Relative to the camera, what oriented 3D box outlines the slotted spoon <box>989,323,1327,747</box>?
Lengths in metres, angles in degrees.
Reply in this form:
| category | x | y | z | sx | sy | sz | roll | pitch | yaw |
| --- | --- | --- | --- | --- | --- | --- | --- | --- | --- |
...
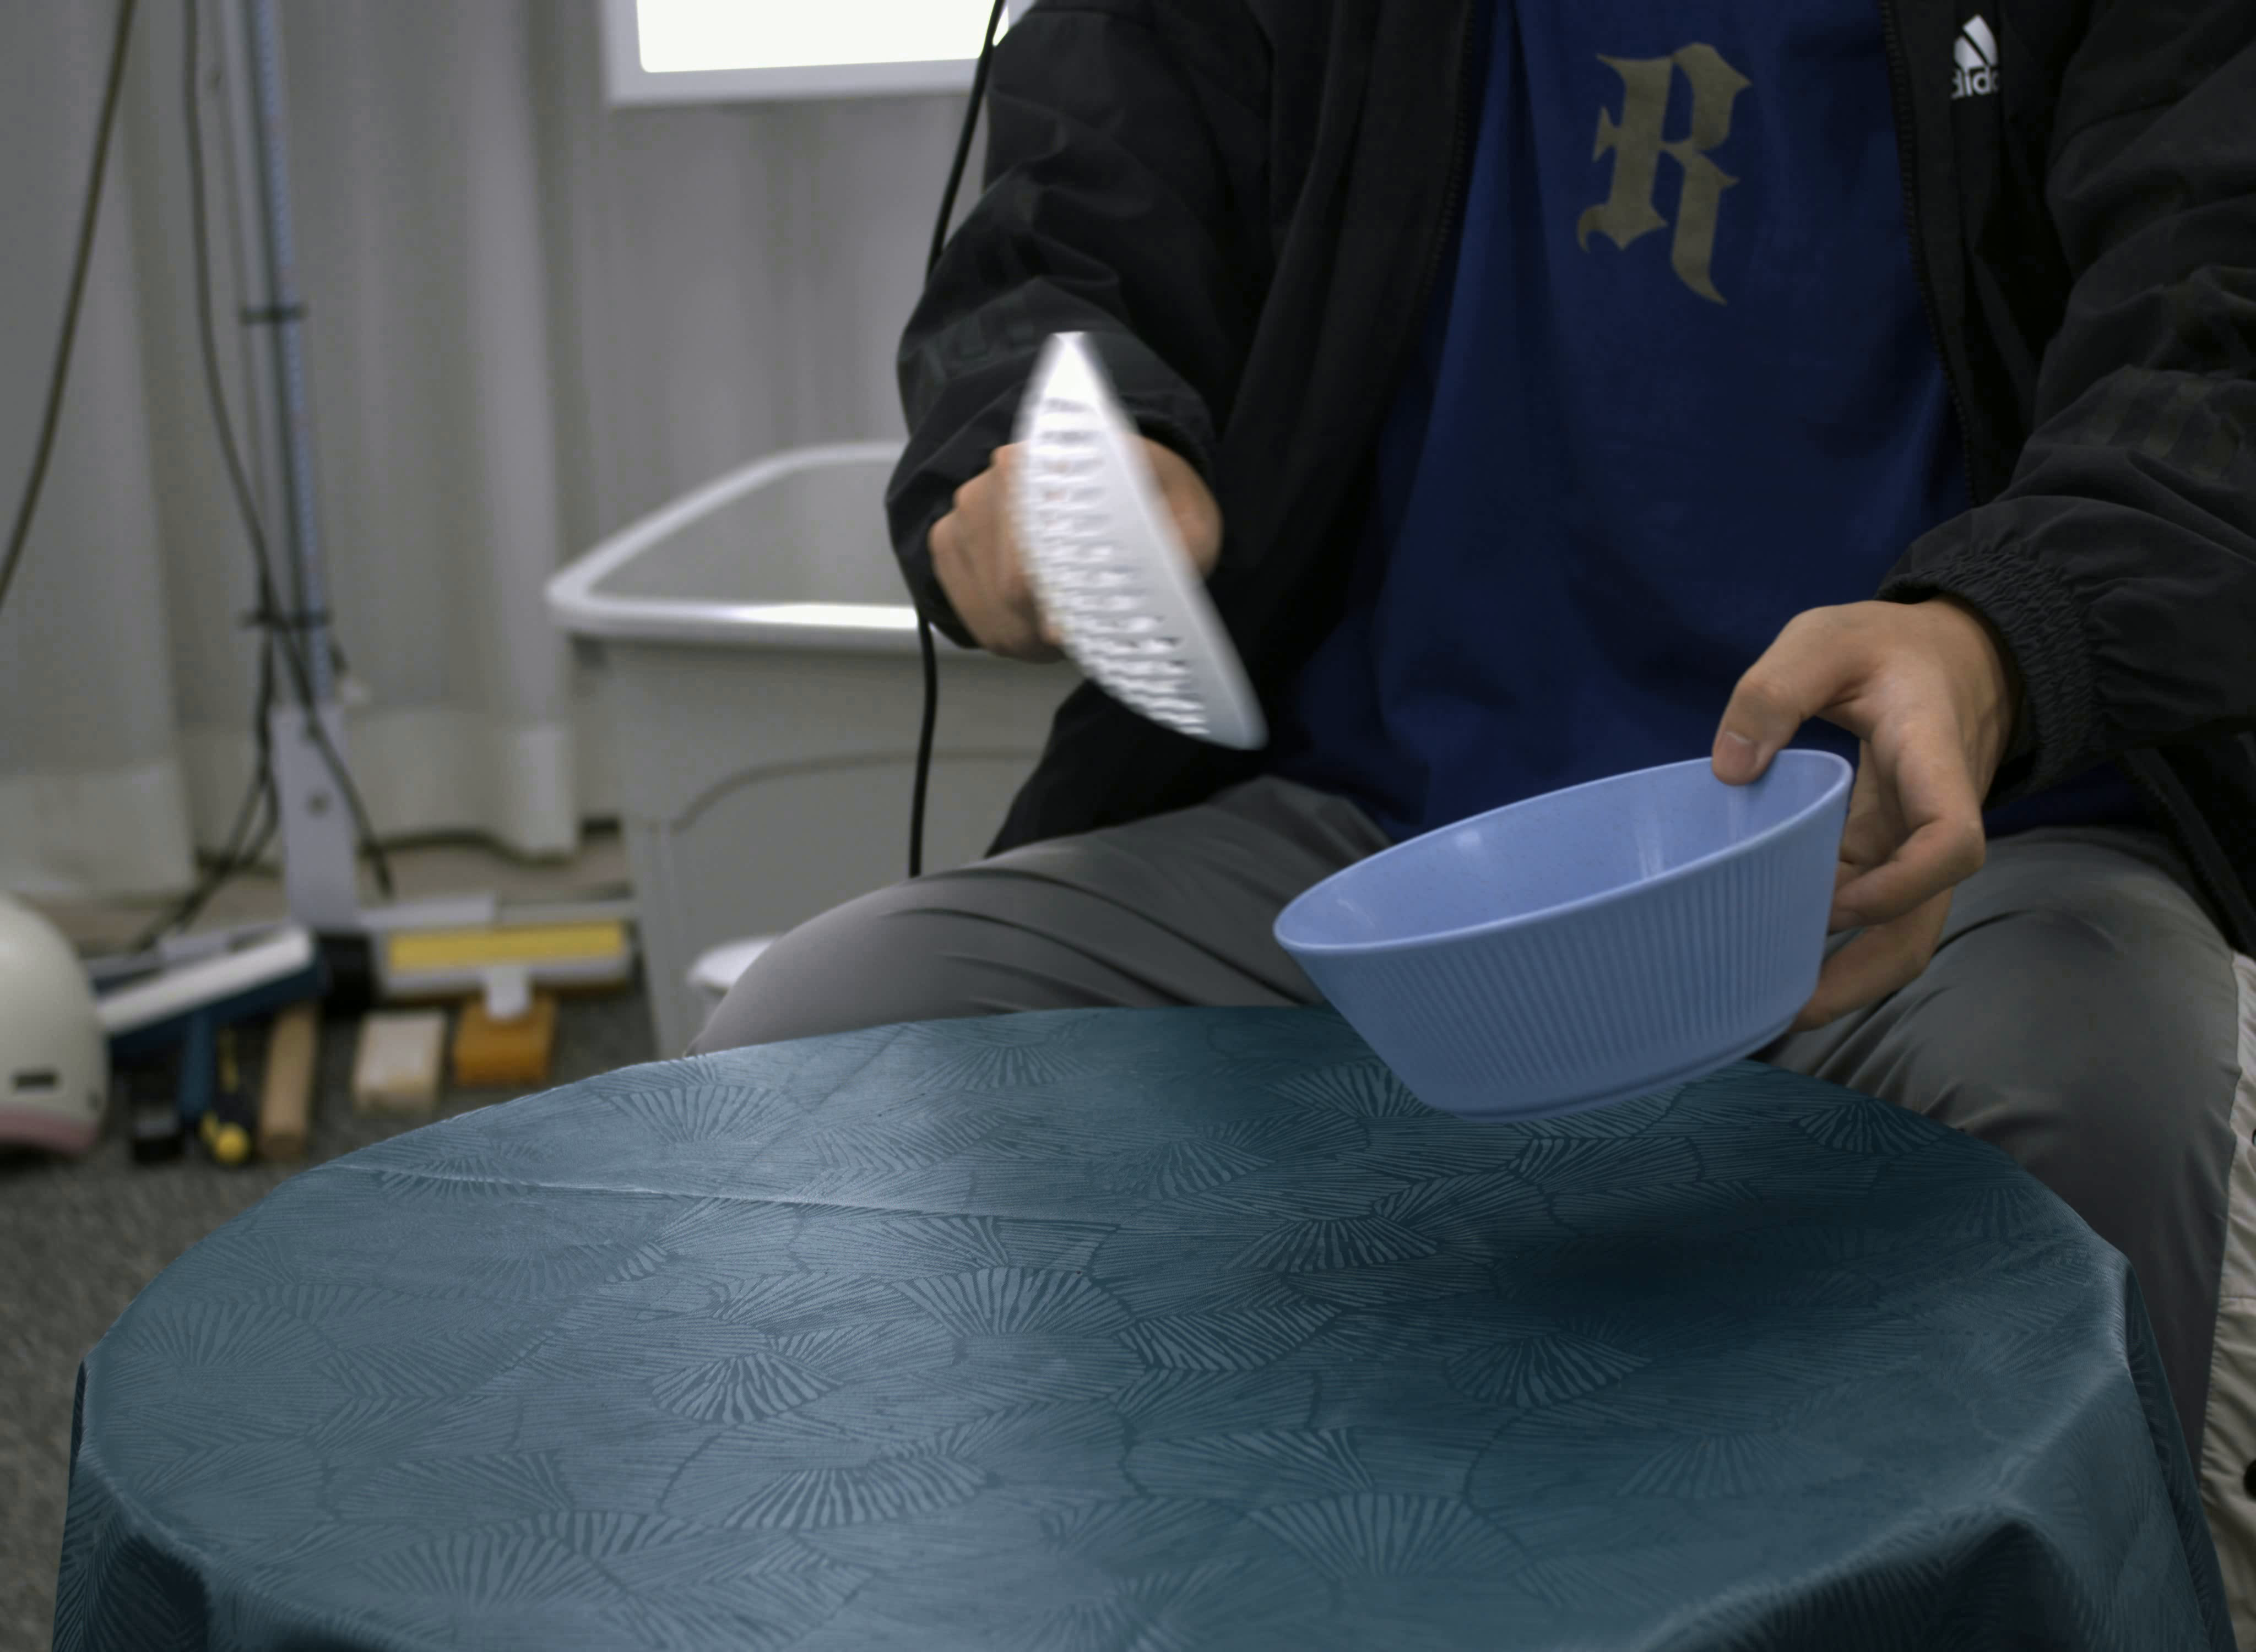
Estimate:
| category | x | y | z | sx | sy | sz | roll | pitch | yaw |
| --- | --- | --- | --- | --- | --- | --- | --- | --- | --- |
| slotted spoon | -0.005 | -0.080 | 1.709 | 0.050 | 0.137 | 0.348 | -27 | 4 | -4 |

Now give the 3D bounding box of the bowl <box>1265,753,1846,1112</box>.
| category | x | y | z | sx | sy | sz | roll | pitch | yaw |
| --- | --- | --- | --- | --- | --- | --- | --- | --- | --- |
| bowl | 0.133 | 0.035 | 1.607 | 0.175 | 0.070 | 0.177 | -16 | 8 | 2 |
